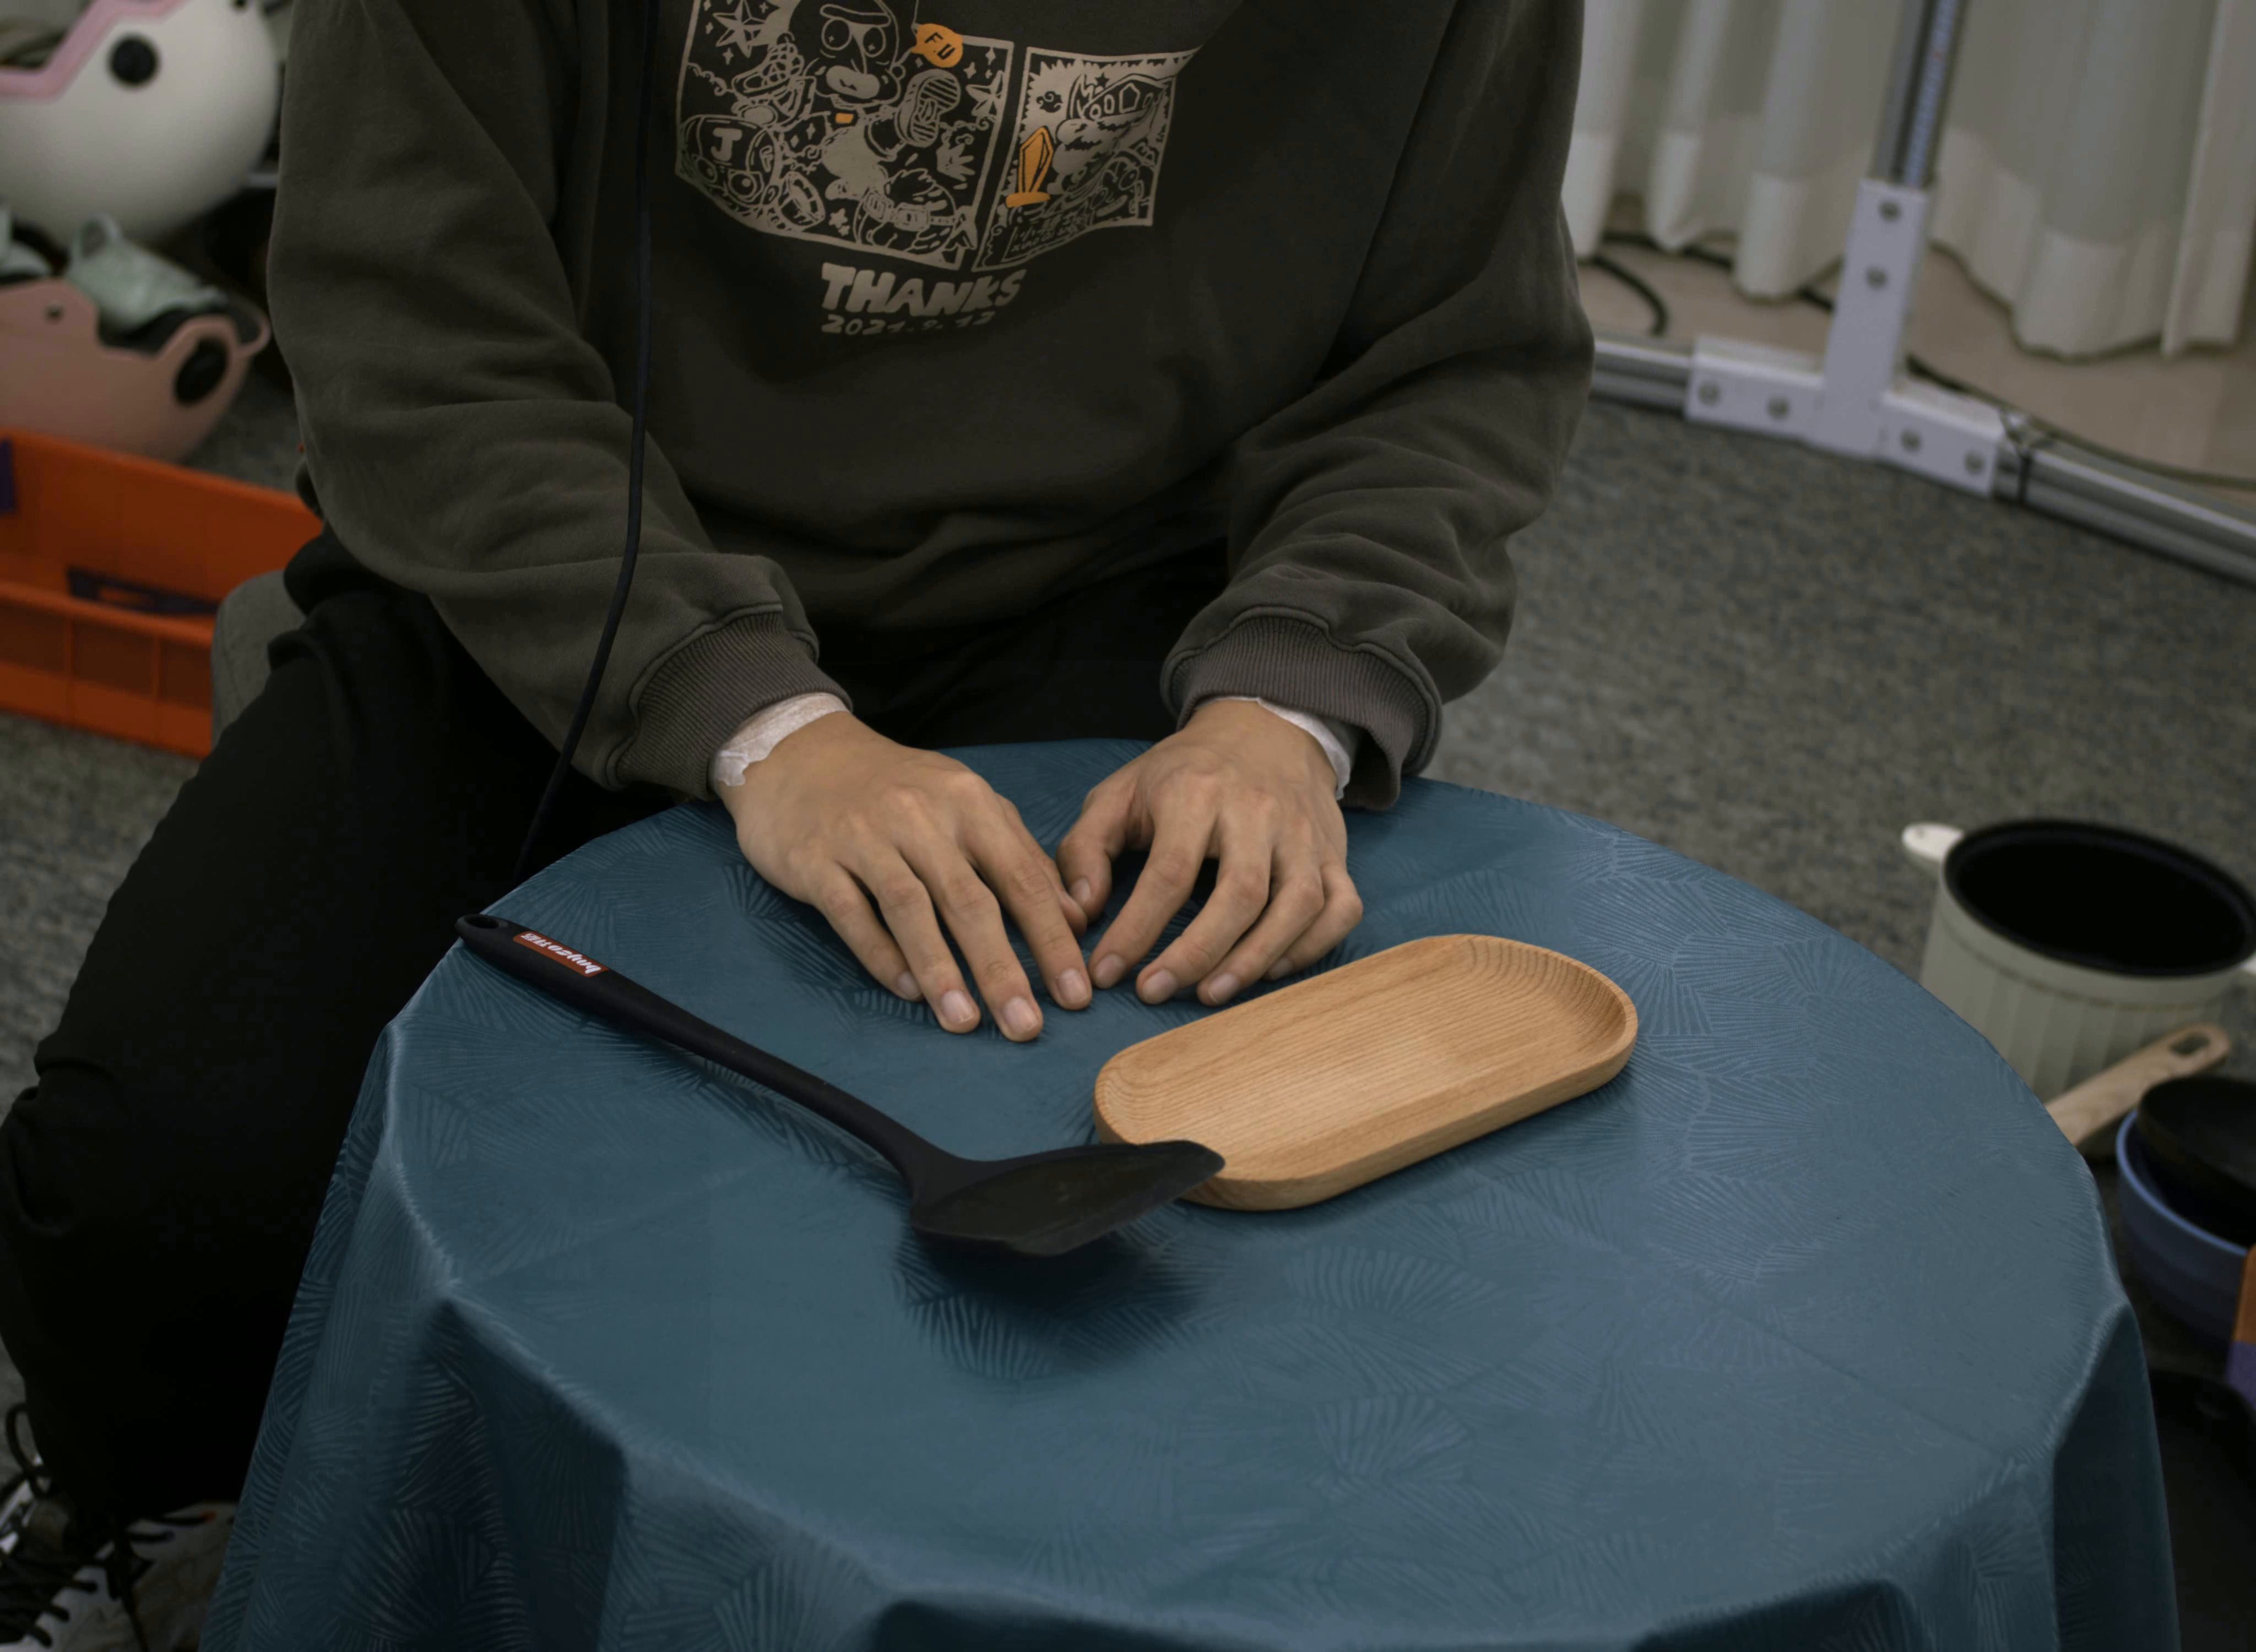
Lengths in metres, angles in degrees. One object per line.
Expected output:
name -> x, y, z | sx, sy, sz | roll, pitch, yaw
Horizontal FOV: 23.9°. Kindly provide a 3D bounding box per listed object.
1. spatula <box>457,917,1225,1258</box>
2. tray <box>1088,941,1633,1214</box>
spatula -> -0.116, 0.082, 1.820 | 0.328, 0.040, 0.099 | 26, 31, 34
tray -> 0.084, 0.088, 1.876 | 0.230, 0.020, 0.102 | -19, 36, -39
